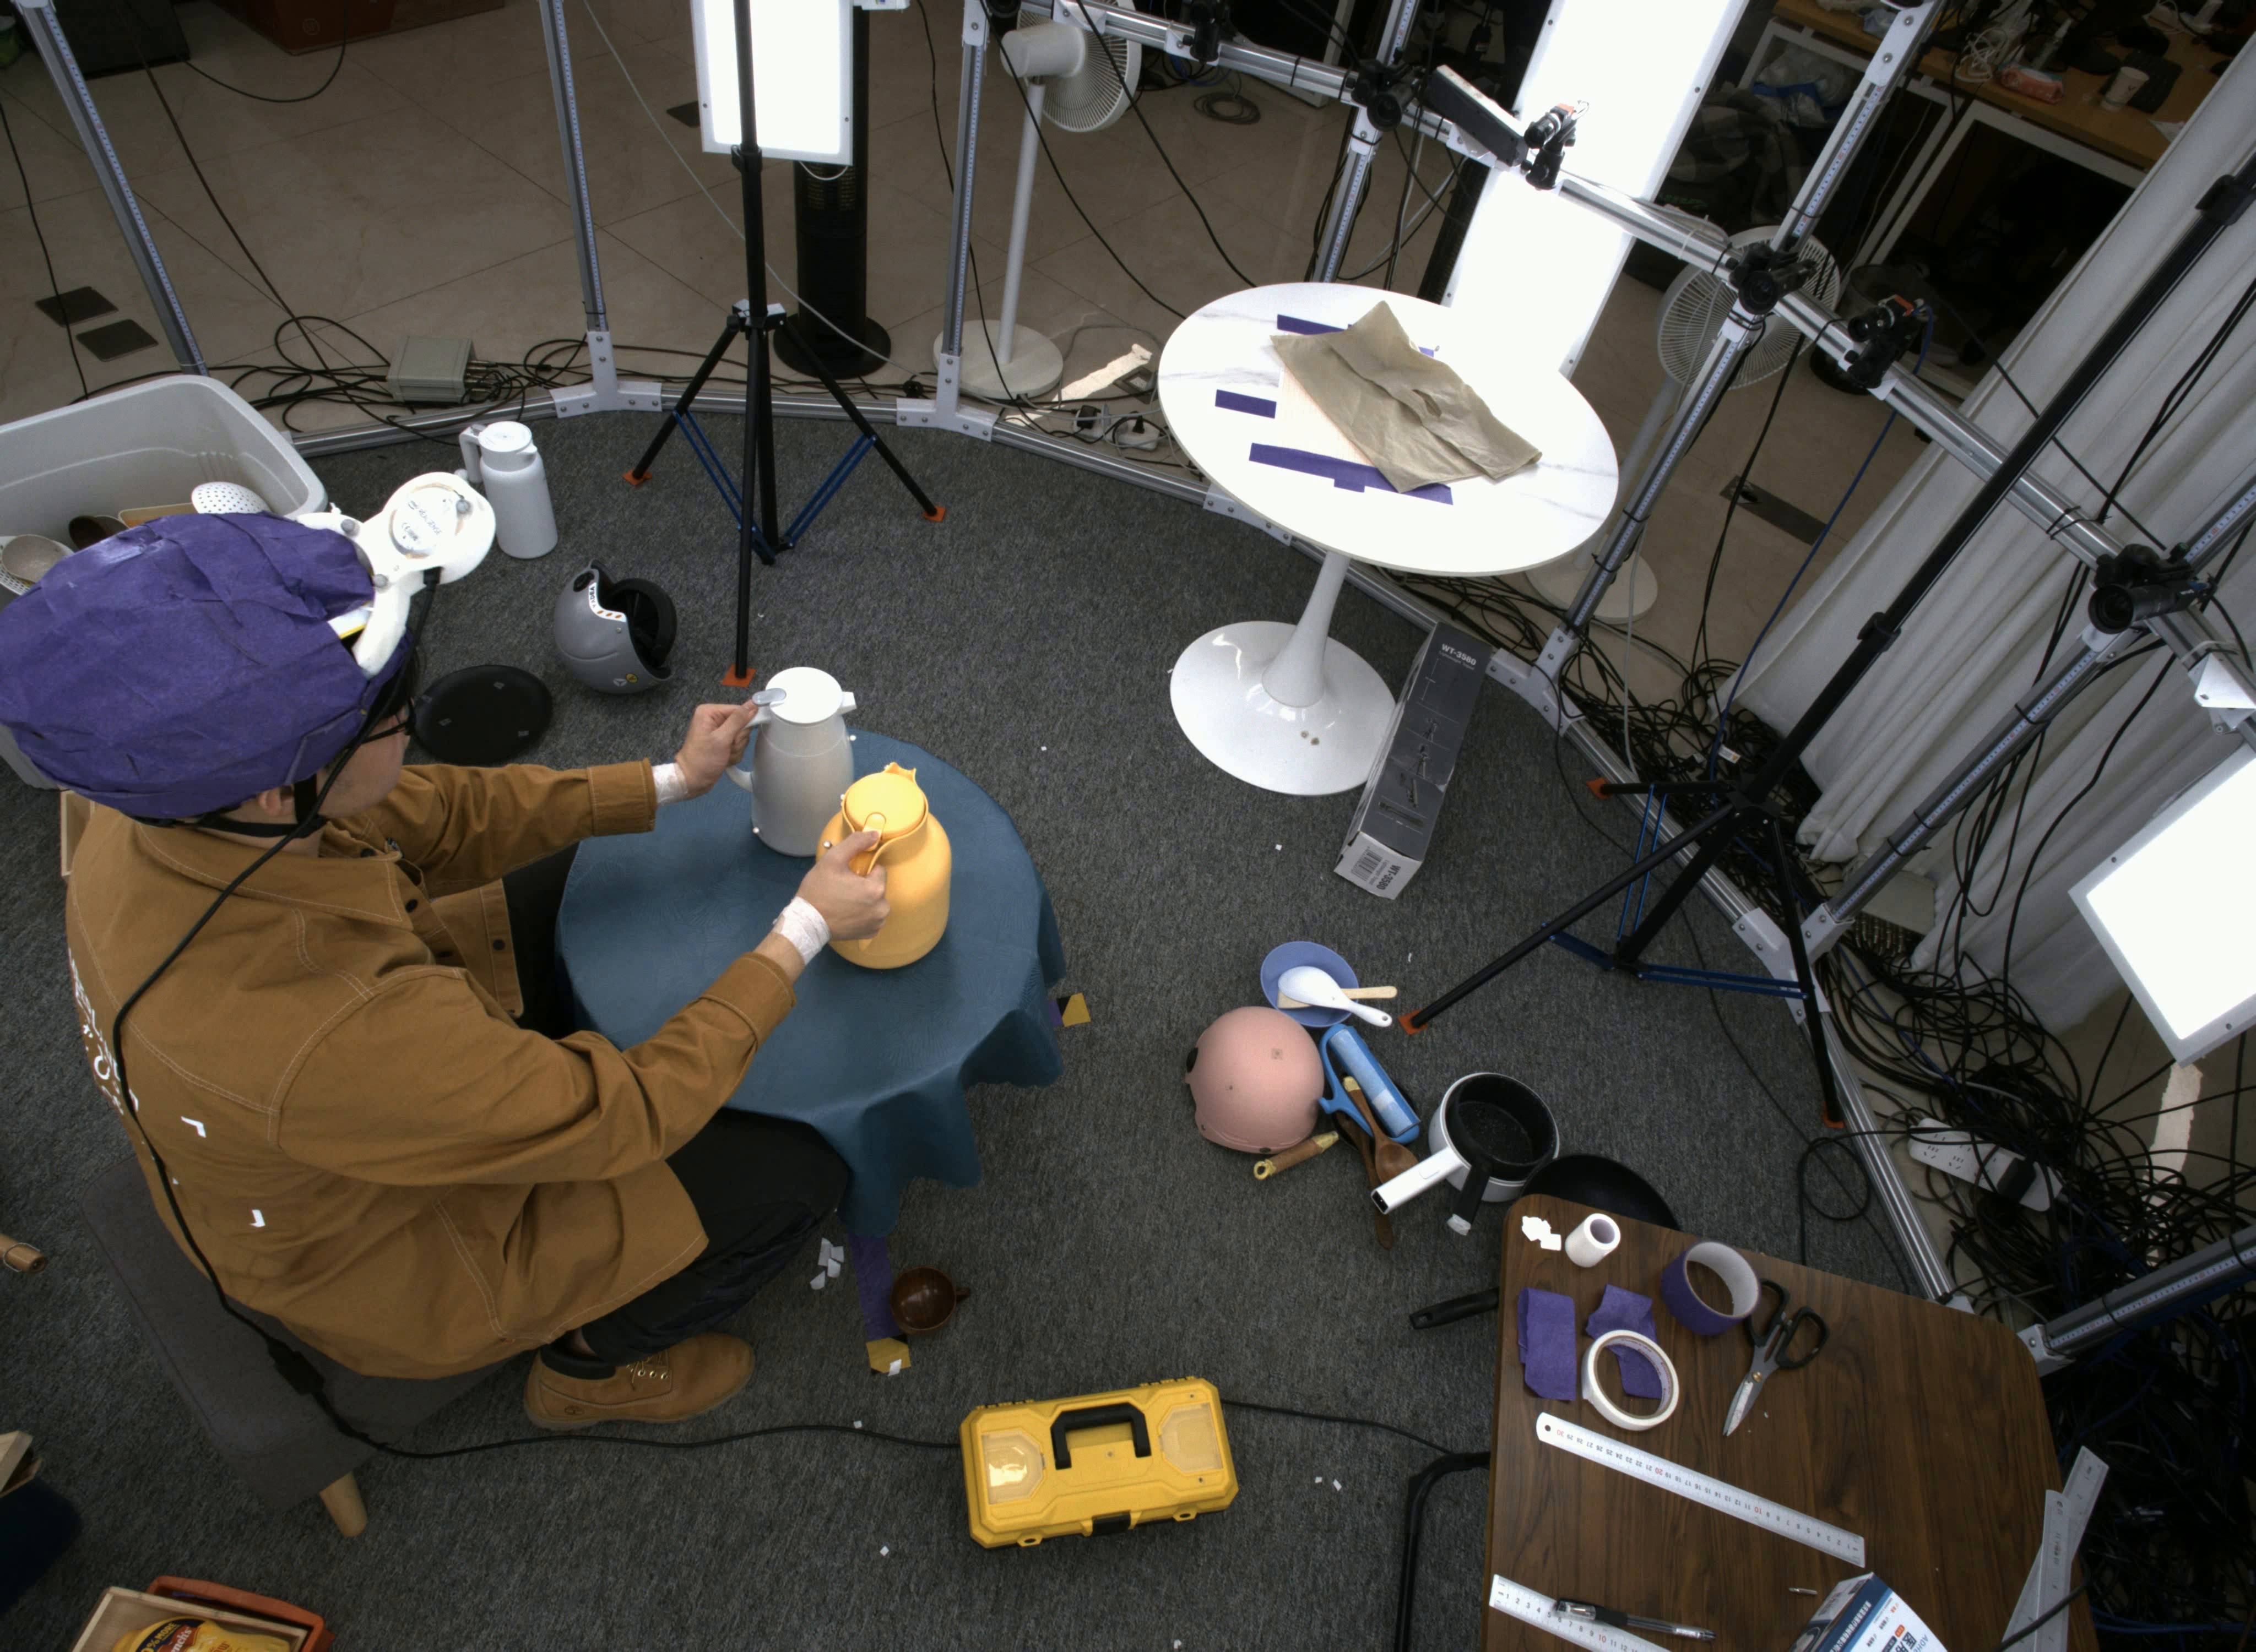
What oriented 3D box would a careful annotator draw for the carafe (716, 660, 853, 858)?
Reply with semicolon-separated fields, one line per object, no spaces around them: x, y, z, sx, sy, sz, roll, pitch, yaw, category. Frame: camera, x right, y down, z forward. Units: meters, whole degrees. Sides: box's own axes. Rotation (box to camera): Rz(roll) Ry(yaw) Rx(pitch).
-0.428;-0.087;1.621;0.168;0.254;0.129;-9;55;-20;carafe

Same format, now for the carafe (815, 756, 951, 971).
-0.299;0.057;1.542;0.161;0.267;0.200;15;50;3;carafe
